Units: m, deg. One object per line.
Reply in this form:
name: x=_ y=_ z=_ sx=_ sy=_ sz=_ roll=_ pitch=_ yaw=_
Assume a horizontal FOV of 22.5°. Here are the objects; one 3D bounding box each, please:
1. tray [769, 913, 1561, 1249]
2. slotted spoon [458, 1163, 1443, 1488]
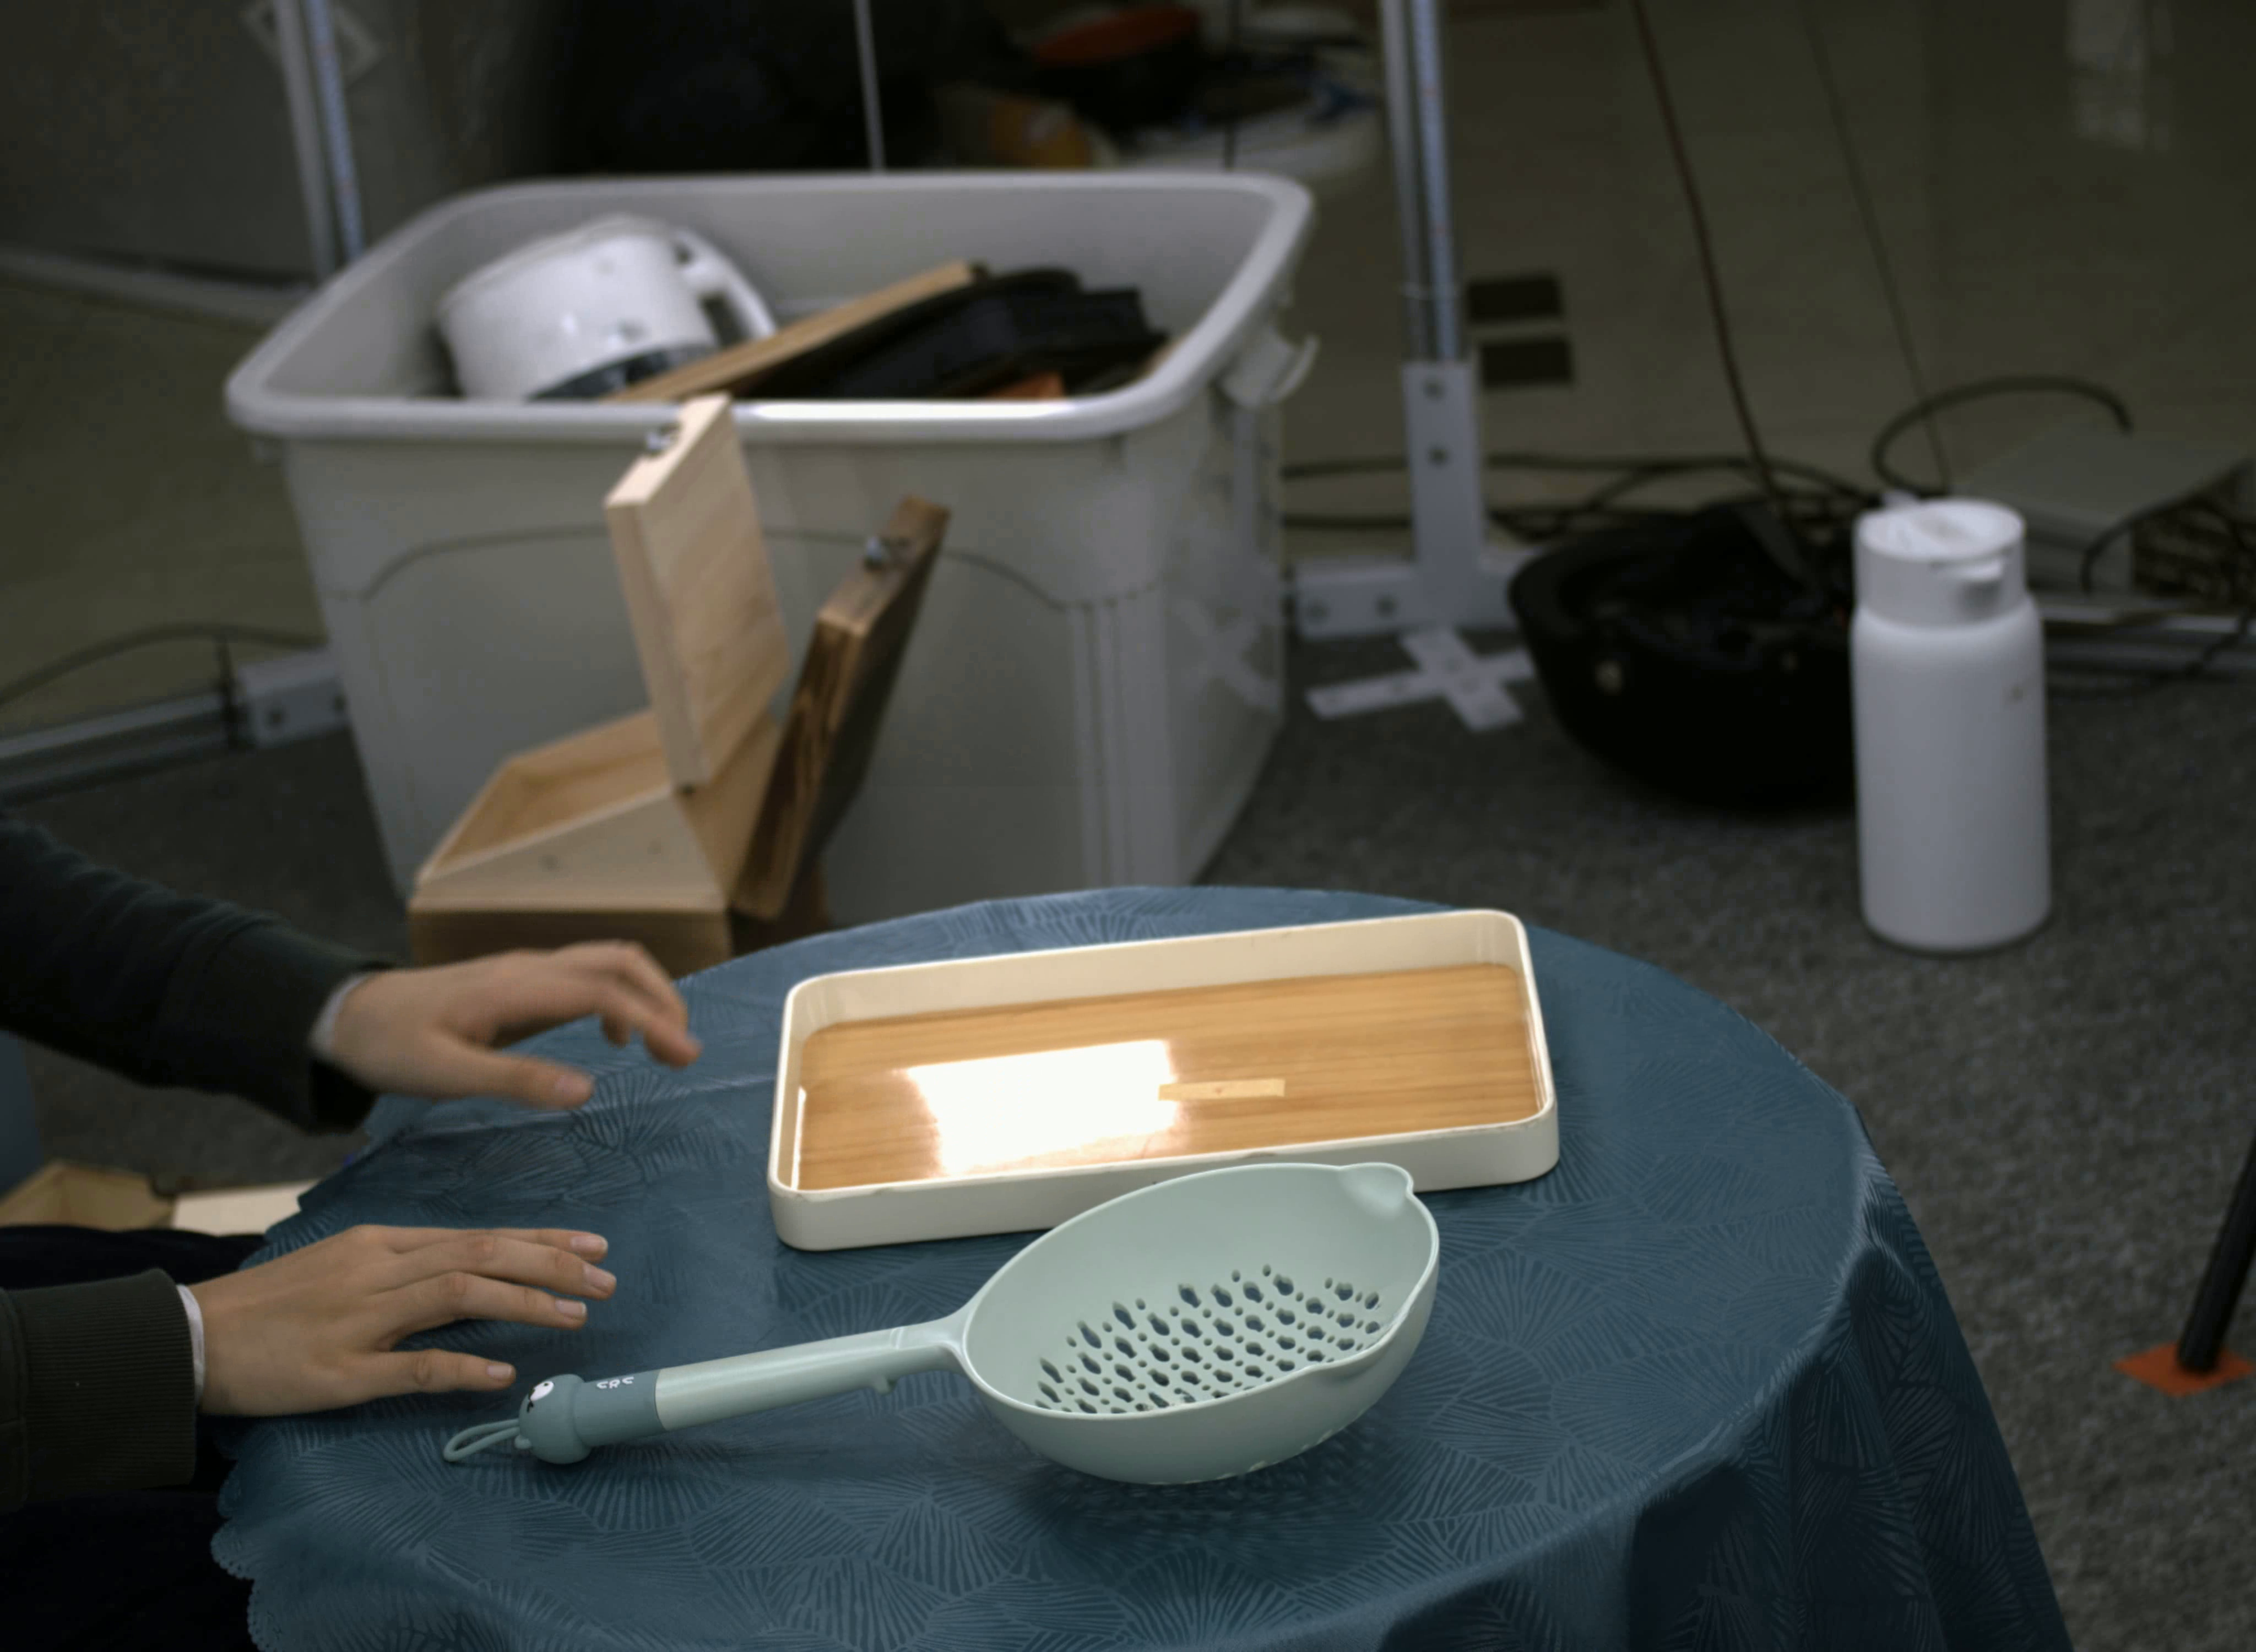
tray: x=0.013 y=0.098 z=2.207 sx=0.300 sy=0.028 sz=0.189 roll=-5 pitch=25 yaw=2
slotted spoon: x=-0.066 y=0.187 z=1.987 sx=0.358 sy=0.076 sz=0.167 roll=-2 pitch=25 yaw=8
